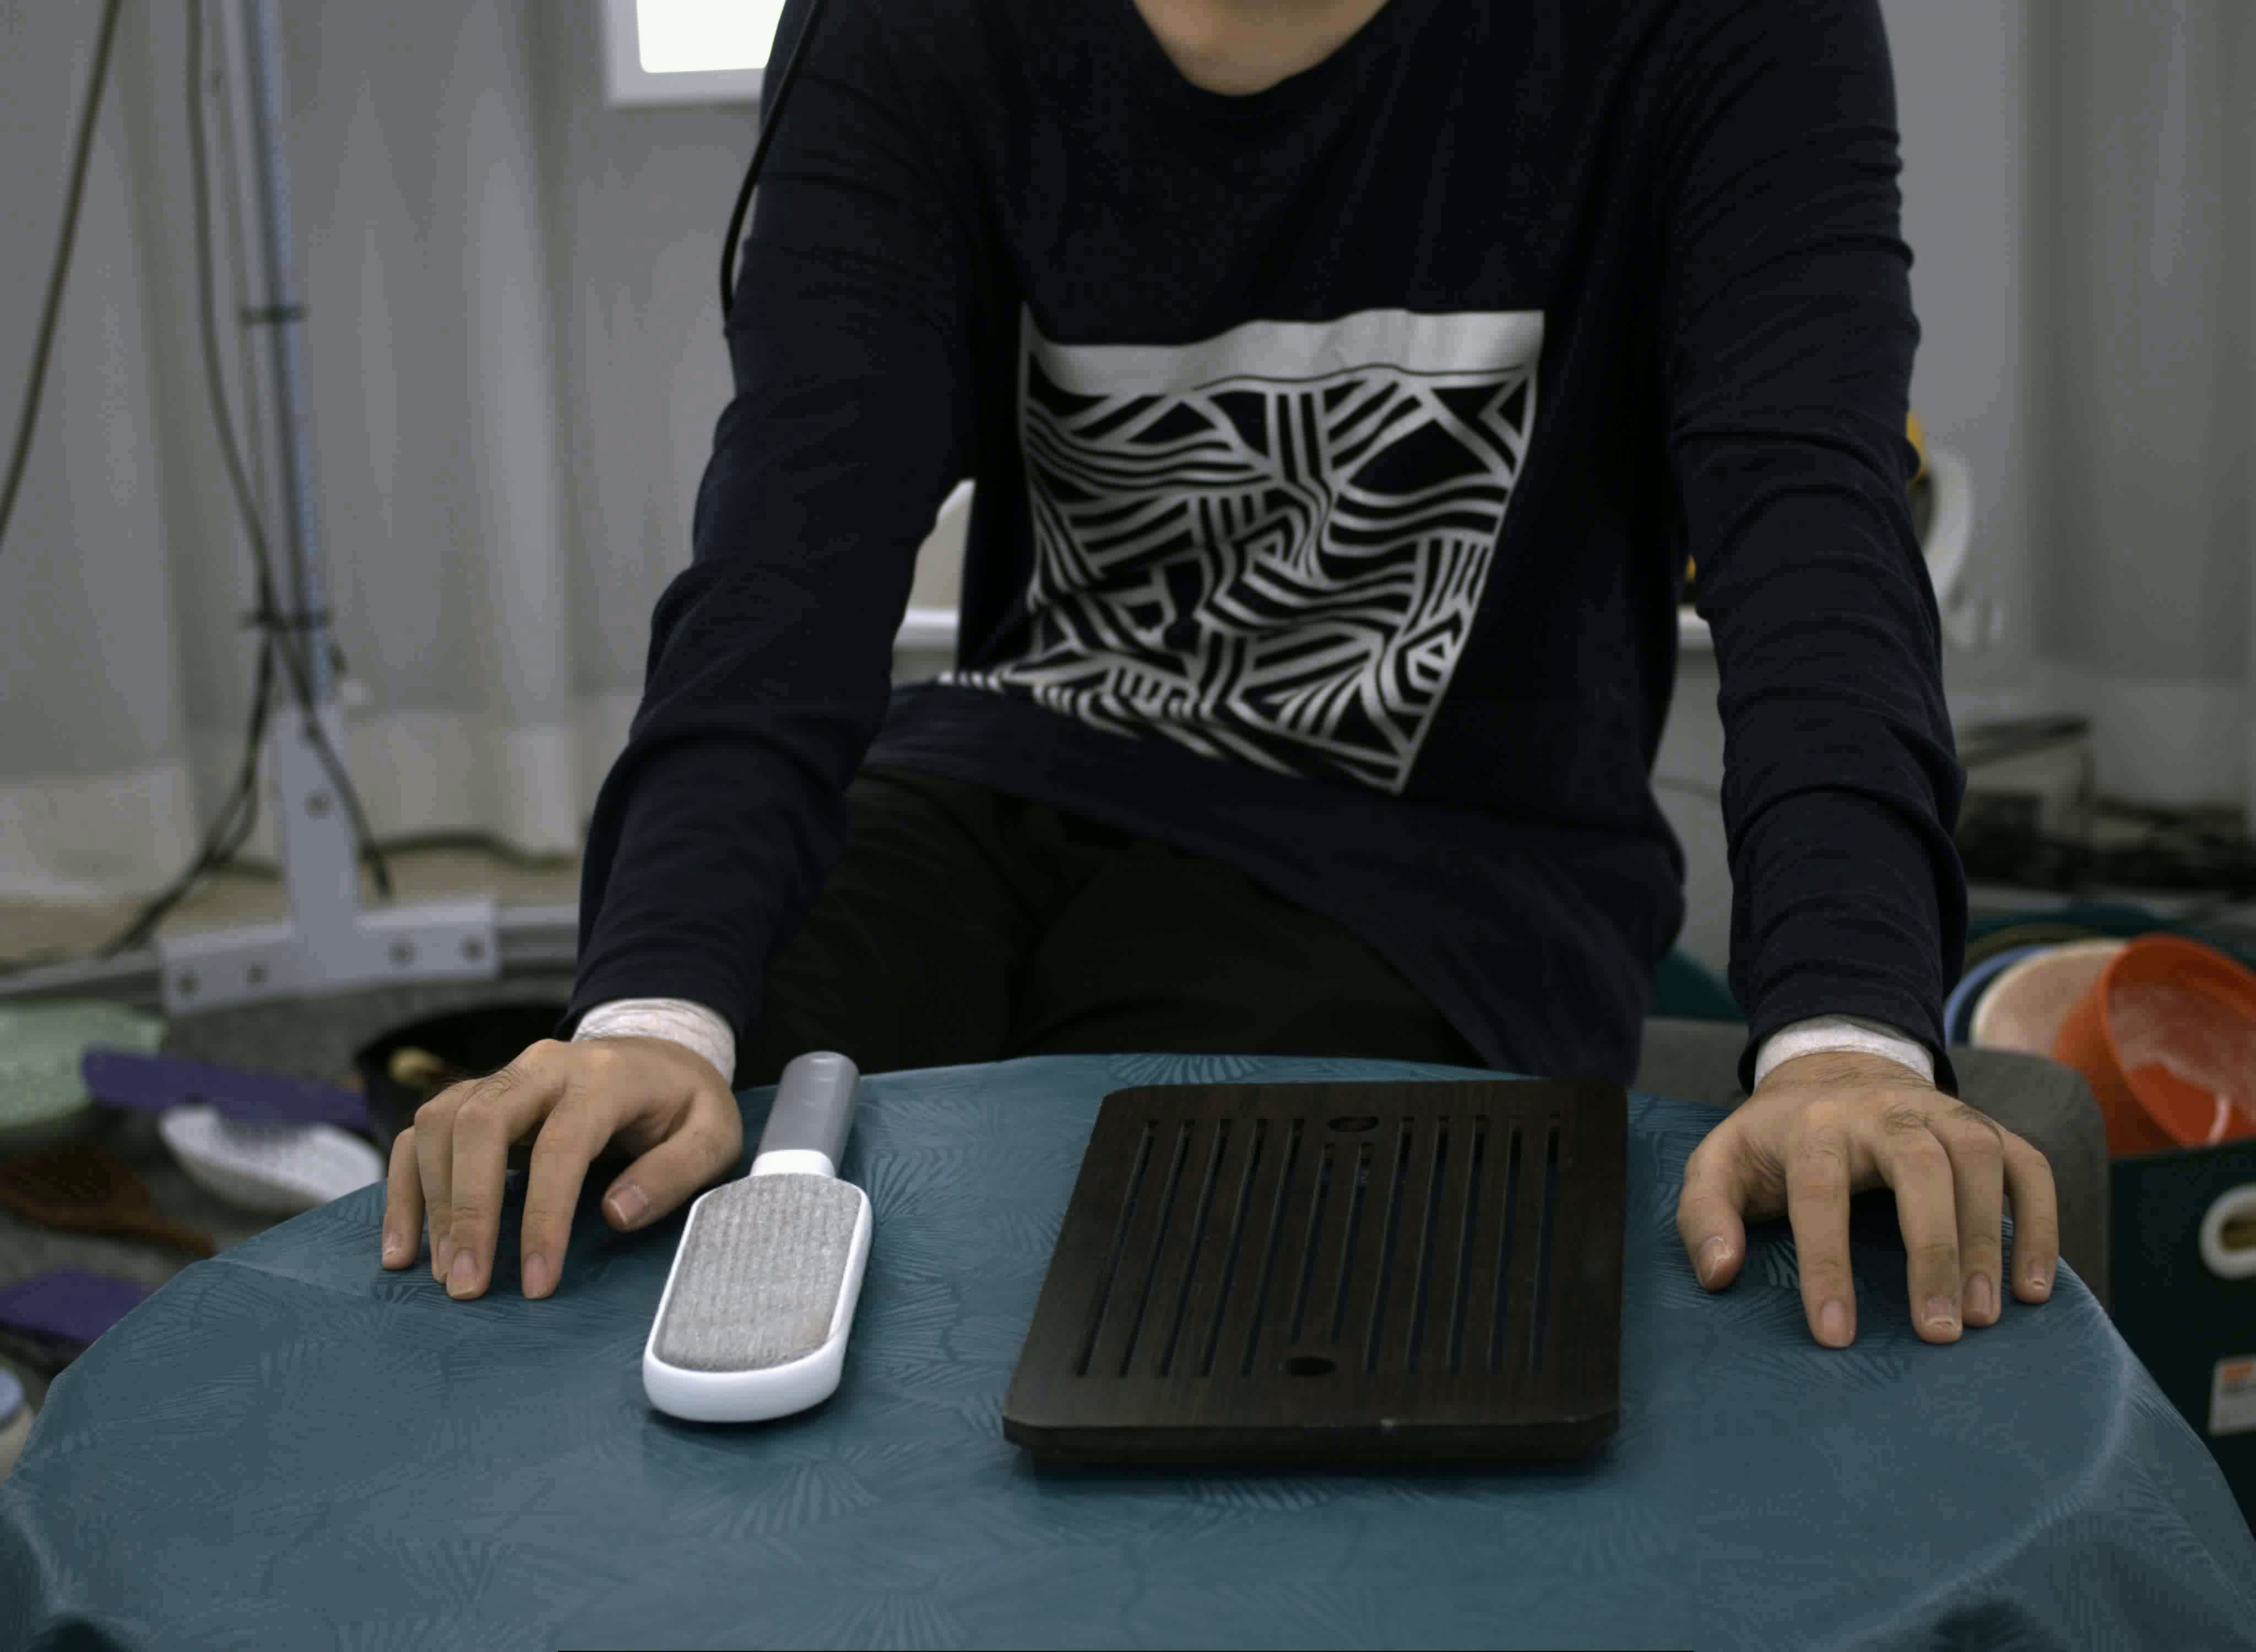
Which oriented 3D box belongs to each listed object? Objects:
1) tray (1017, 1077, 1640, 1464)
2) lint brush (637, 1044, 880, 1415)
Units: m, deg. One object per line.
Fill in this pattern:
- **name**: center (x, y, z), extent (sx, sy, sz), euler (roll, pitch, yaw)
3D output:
- **tray**: center (0.066, 0.129, 1.617), extent (0.170, 0.018, 0.308), euler (-2, 15, 6)
- **lint brush**: center (-0.105, 0.119, 1.670), extent (0.060, 0.021, 0.311), euler (-7, 14, 4)
